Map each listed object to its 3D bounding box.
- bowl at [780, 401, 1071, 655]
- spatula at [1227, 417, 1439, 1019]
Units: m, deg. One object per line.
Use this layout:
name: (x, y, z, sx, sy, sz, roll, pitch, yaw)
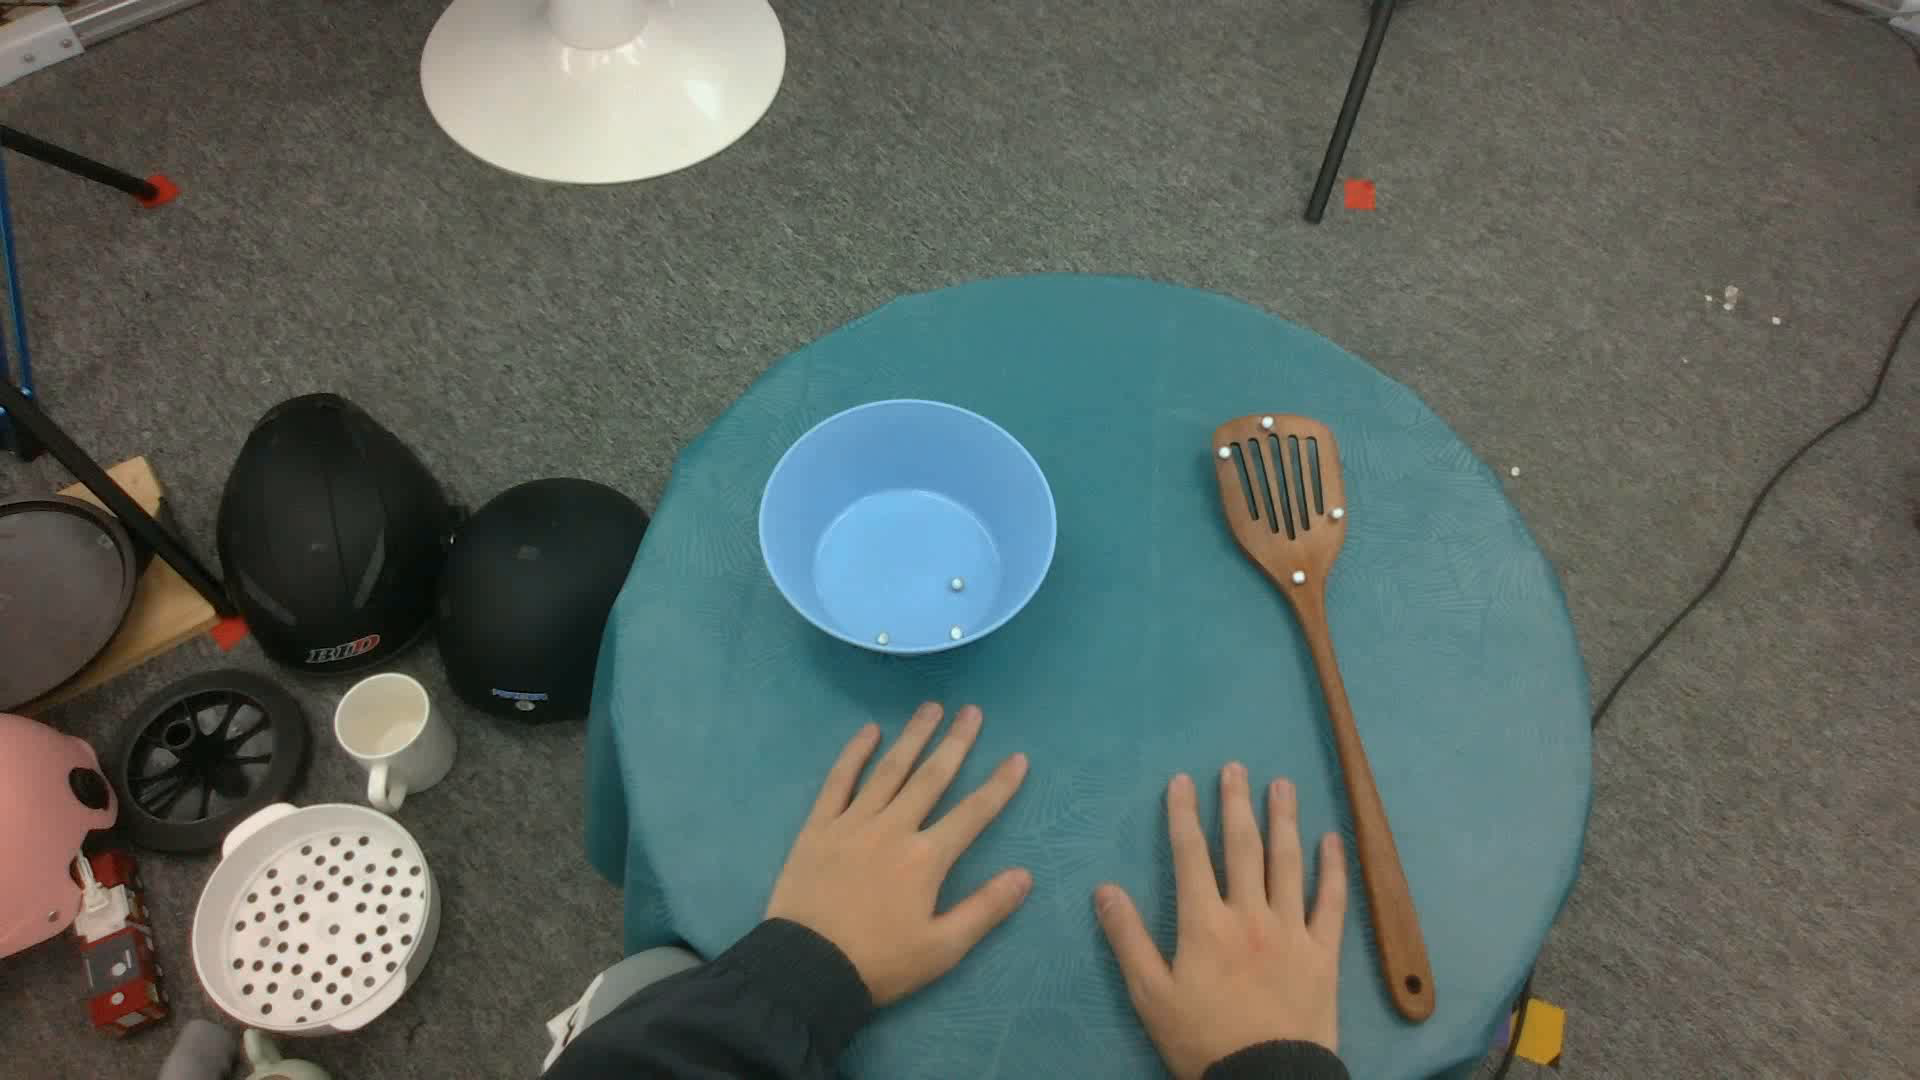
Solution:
bowl: (-0.021, 0.004, 0.852, 0.176, 0.070, 0.177, 1, 60, -1)
spatula: (0.234, 0.090, 0.838, 0.085, 0.024, 0.388, -4, 60, -3)
